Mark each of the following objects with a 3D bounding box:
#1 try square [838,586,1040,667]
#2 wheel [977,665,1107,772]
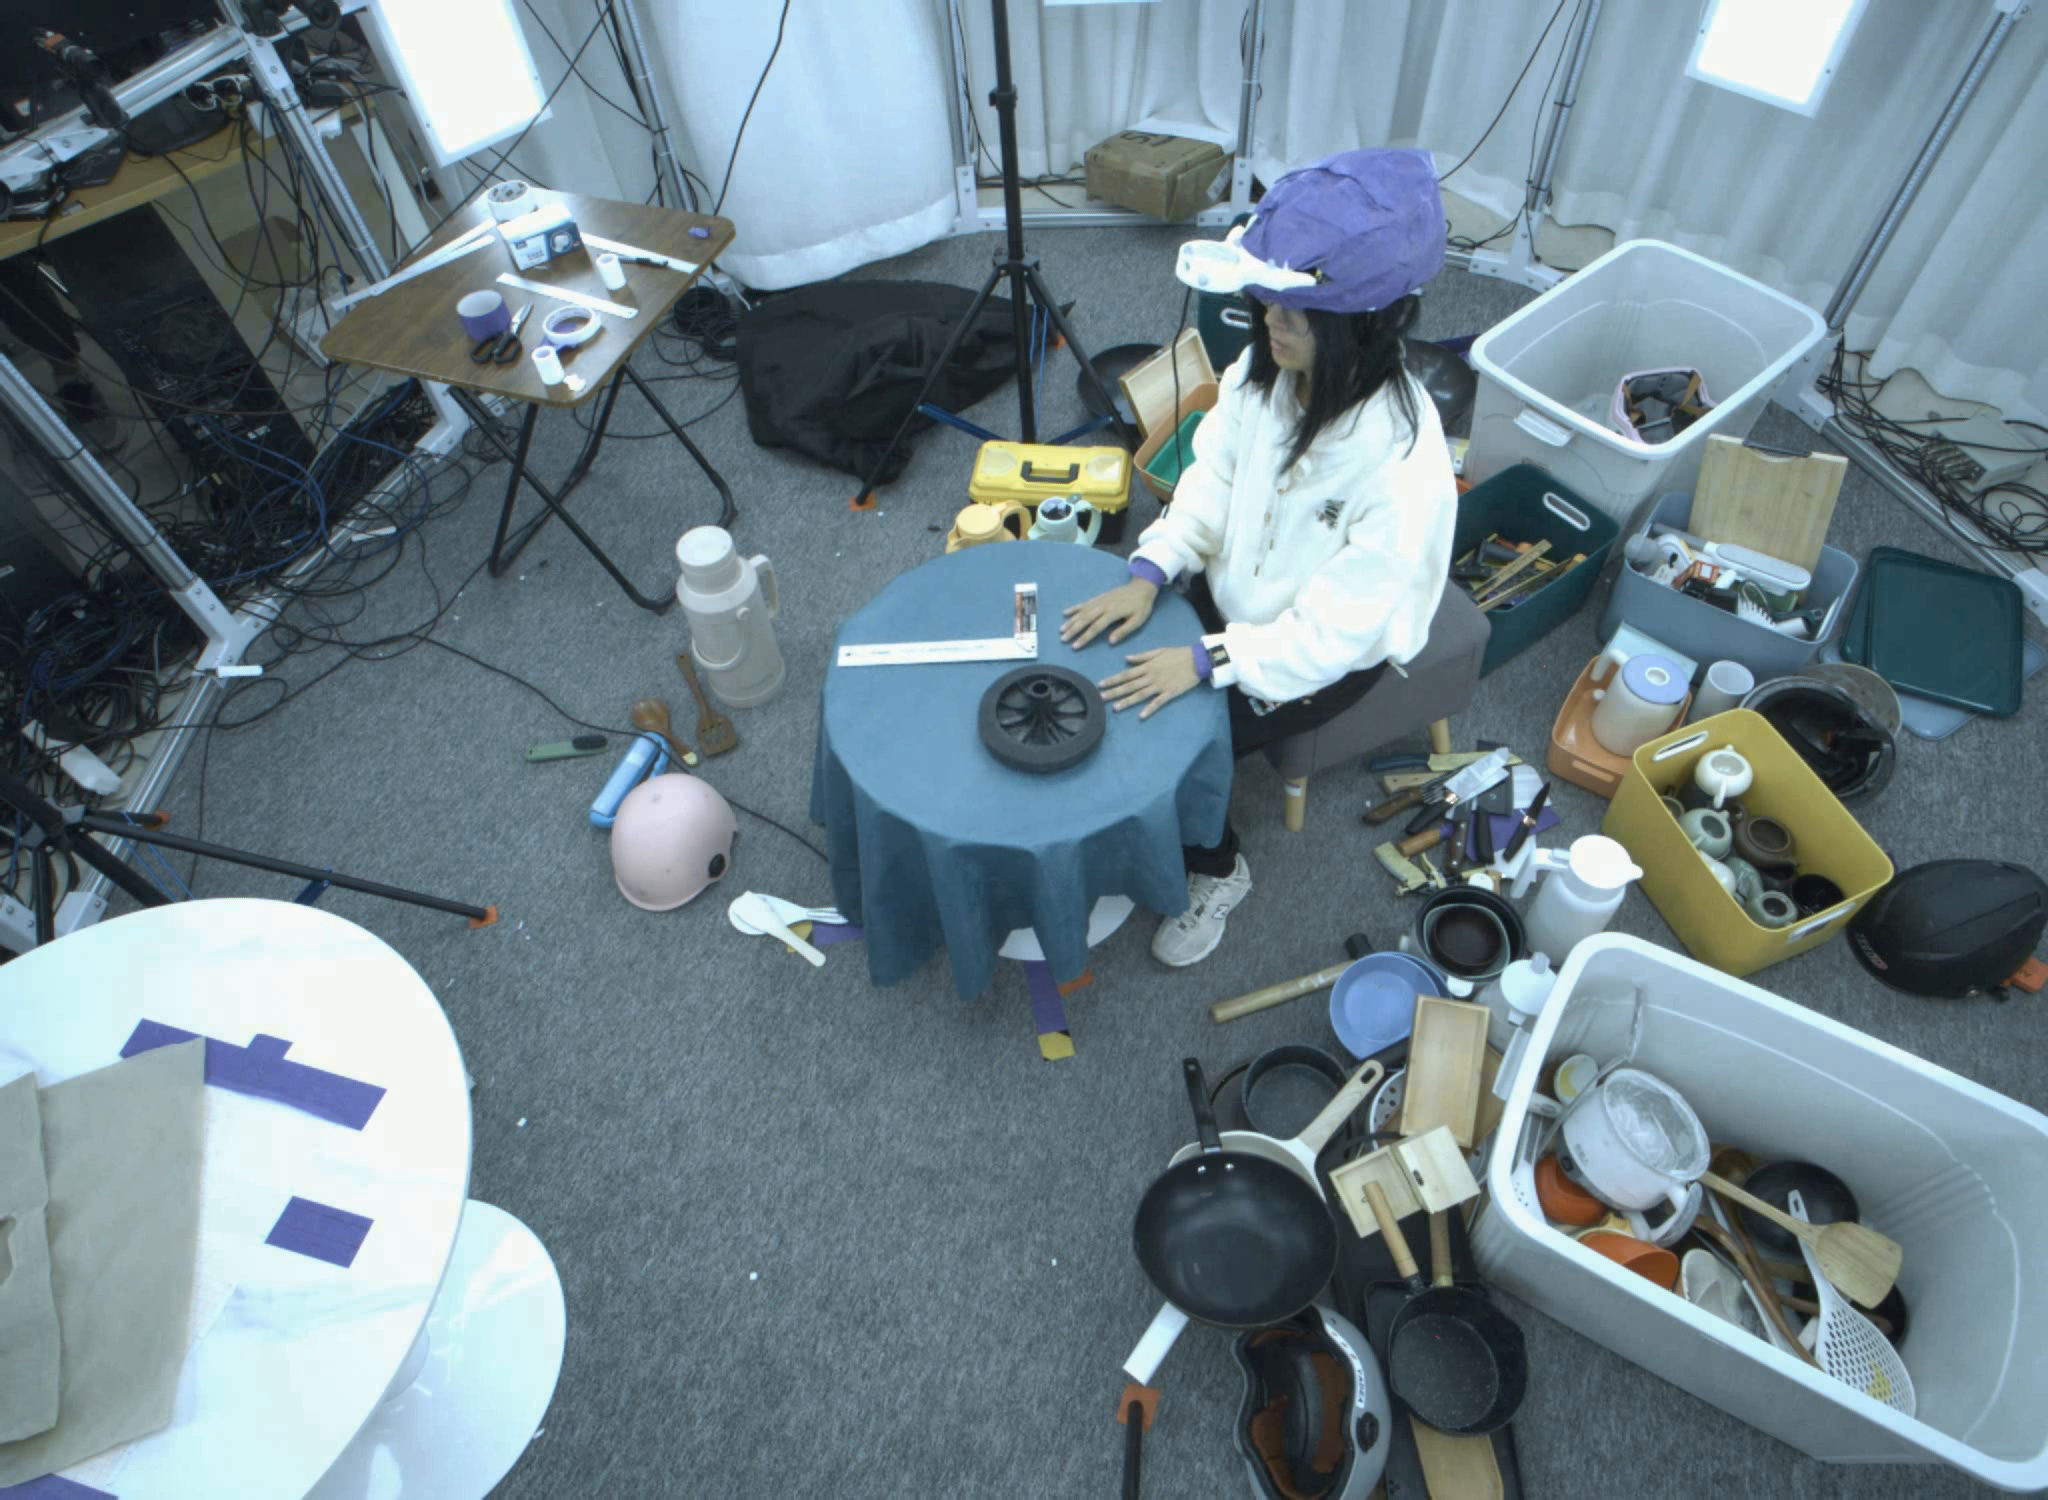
[{"bbox_3d":[-0.132,-0.195,1.928,0.313,0.016,0.150,-2,52,2],"label":"try square"},{"bbox_3d":[0.025,-0.061,1.783,0.187,0.080,0.188,30,60,20],"label":"wheel"}]
